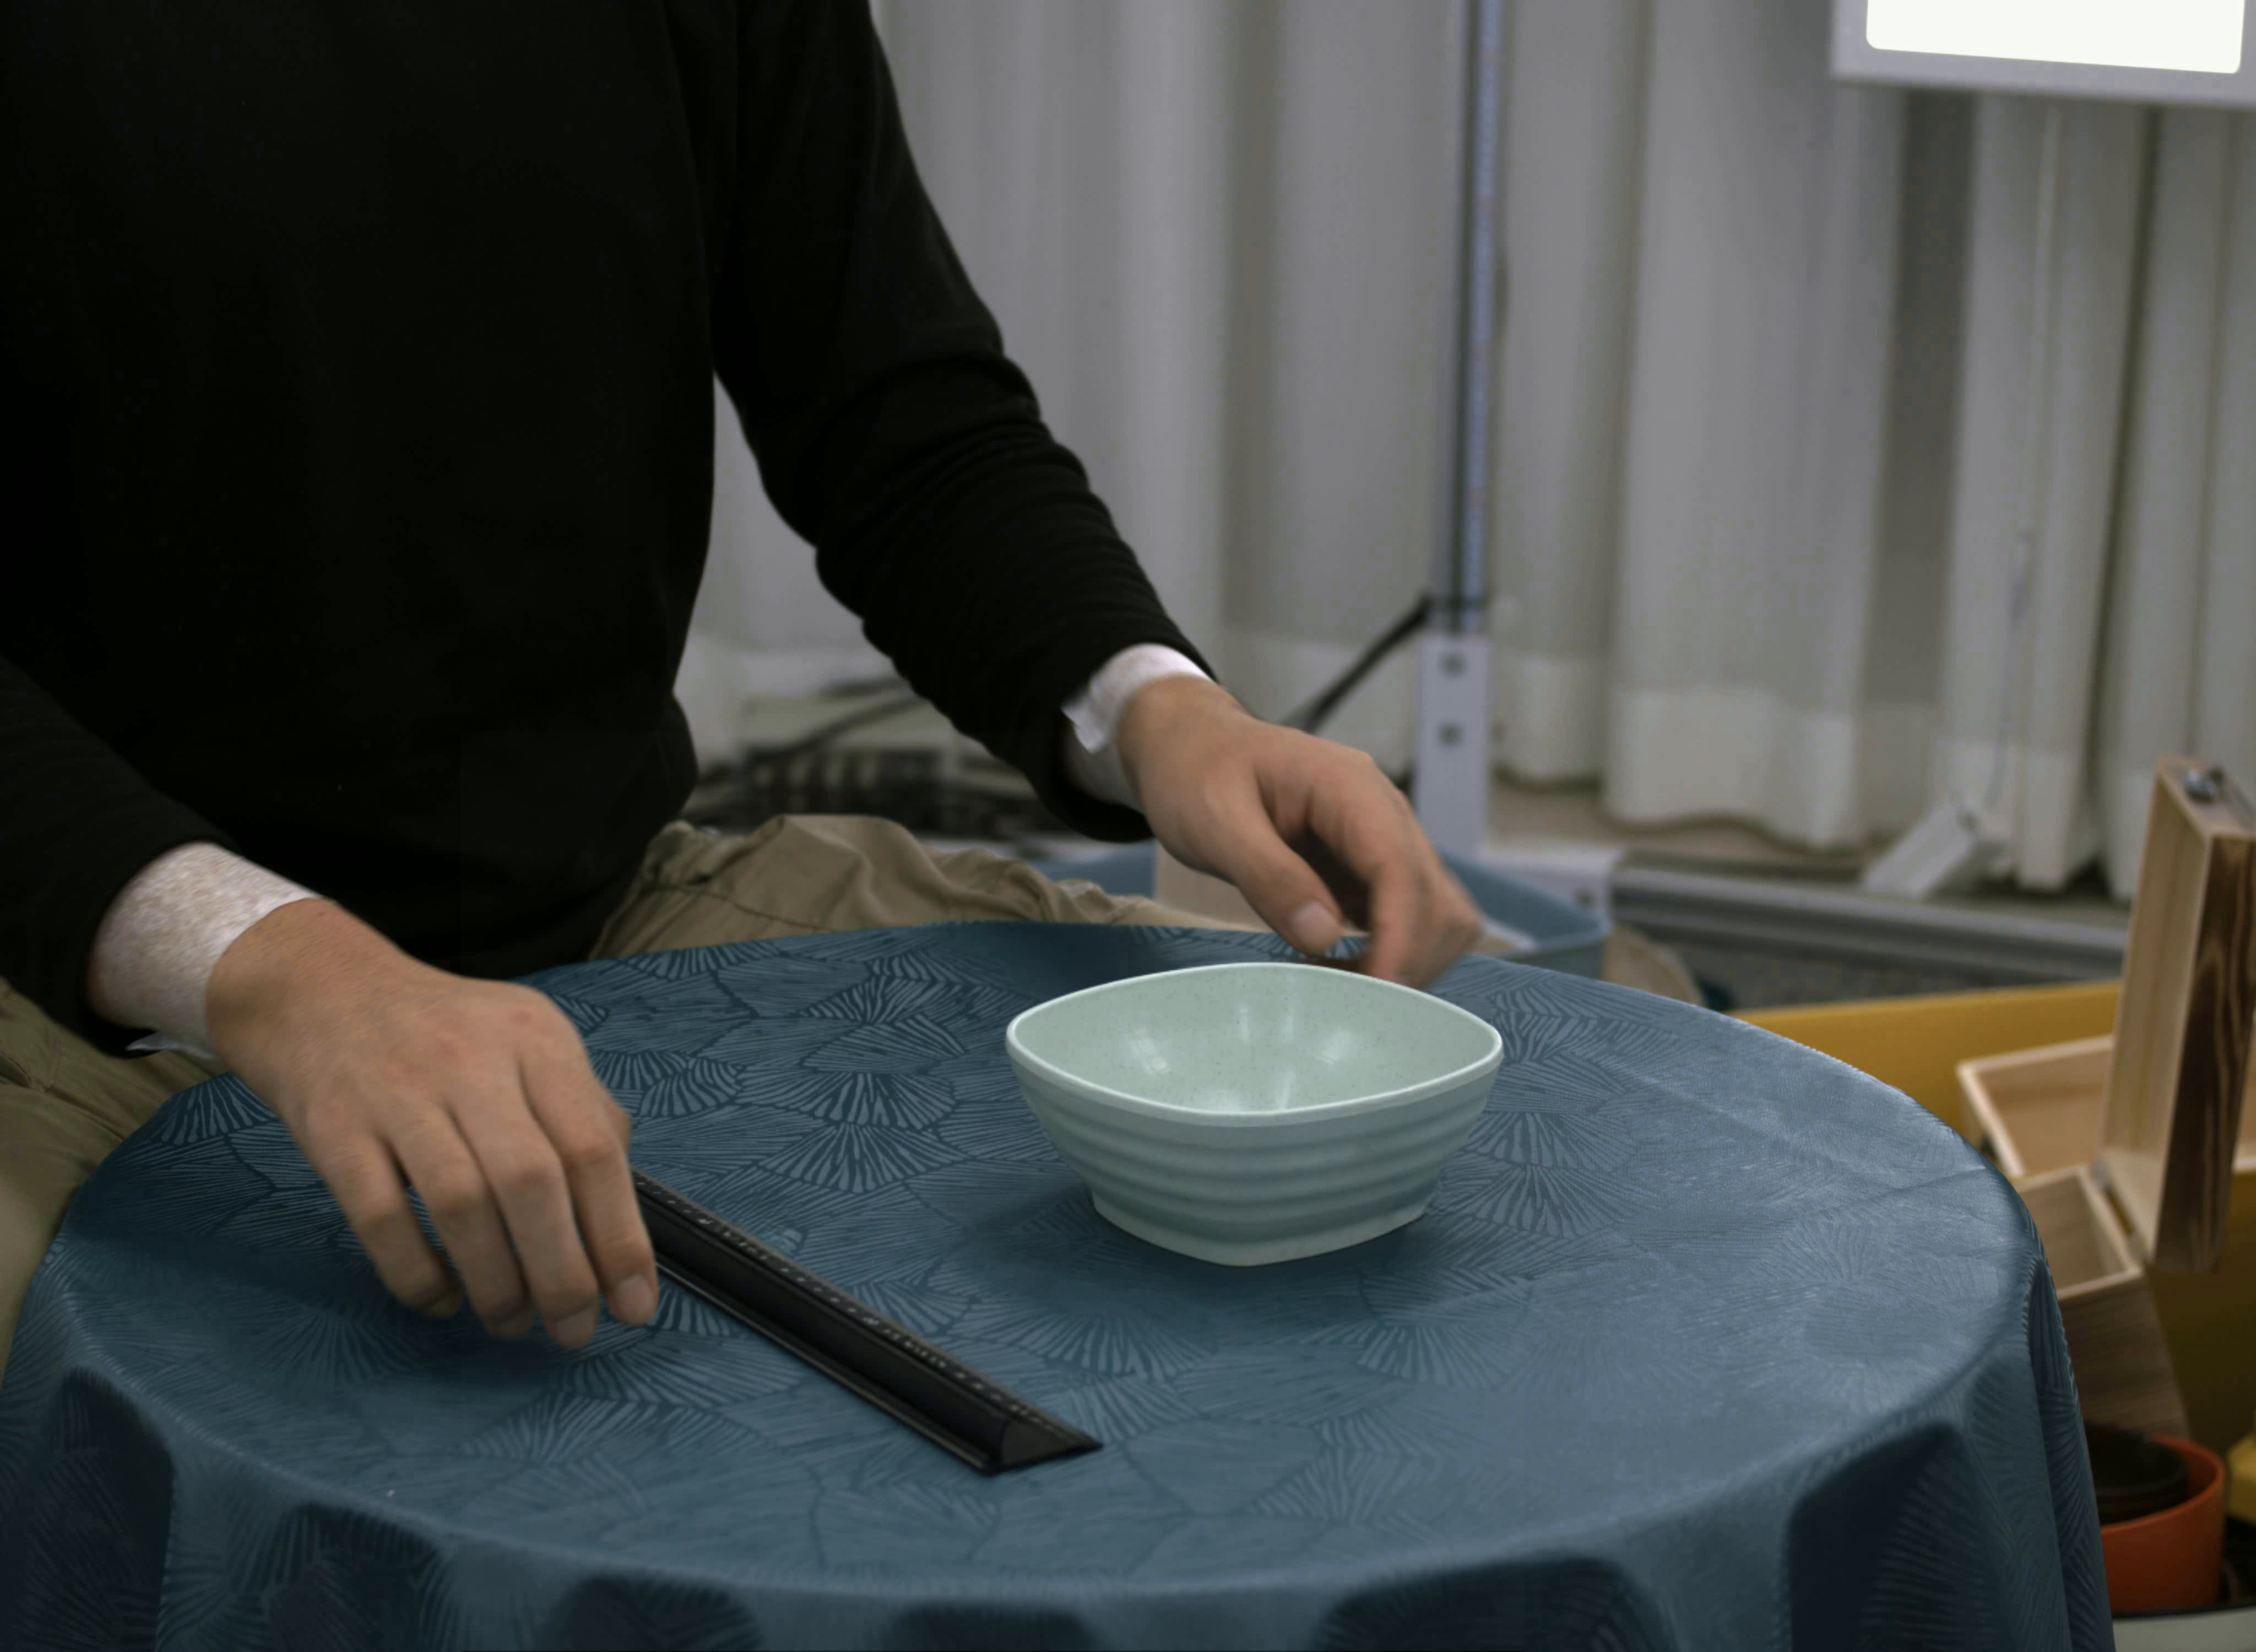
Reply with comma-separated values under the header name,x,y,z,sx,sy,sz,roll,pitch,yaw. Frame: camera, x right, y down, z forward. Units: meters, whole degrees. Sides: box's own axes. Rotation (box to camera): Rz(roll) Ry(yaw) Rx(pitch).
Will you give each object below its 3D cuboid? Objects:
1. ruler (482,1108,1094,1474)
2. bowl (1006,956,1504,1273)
name,x,y,z,sx,sy,sz,roll,pitch,yaw
ruler,-0.104,0.128,1.530,0.039,0.017,0.308,-5,16,-32
bowl,0.038,0.091,1.597,0.151,0.059,0.150,1,17,0
